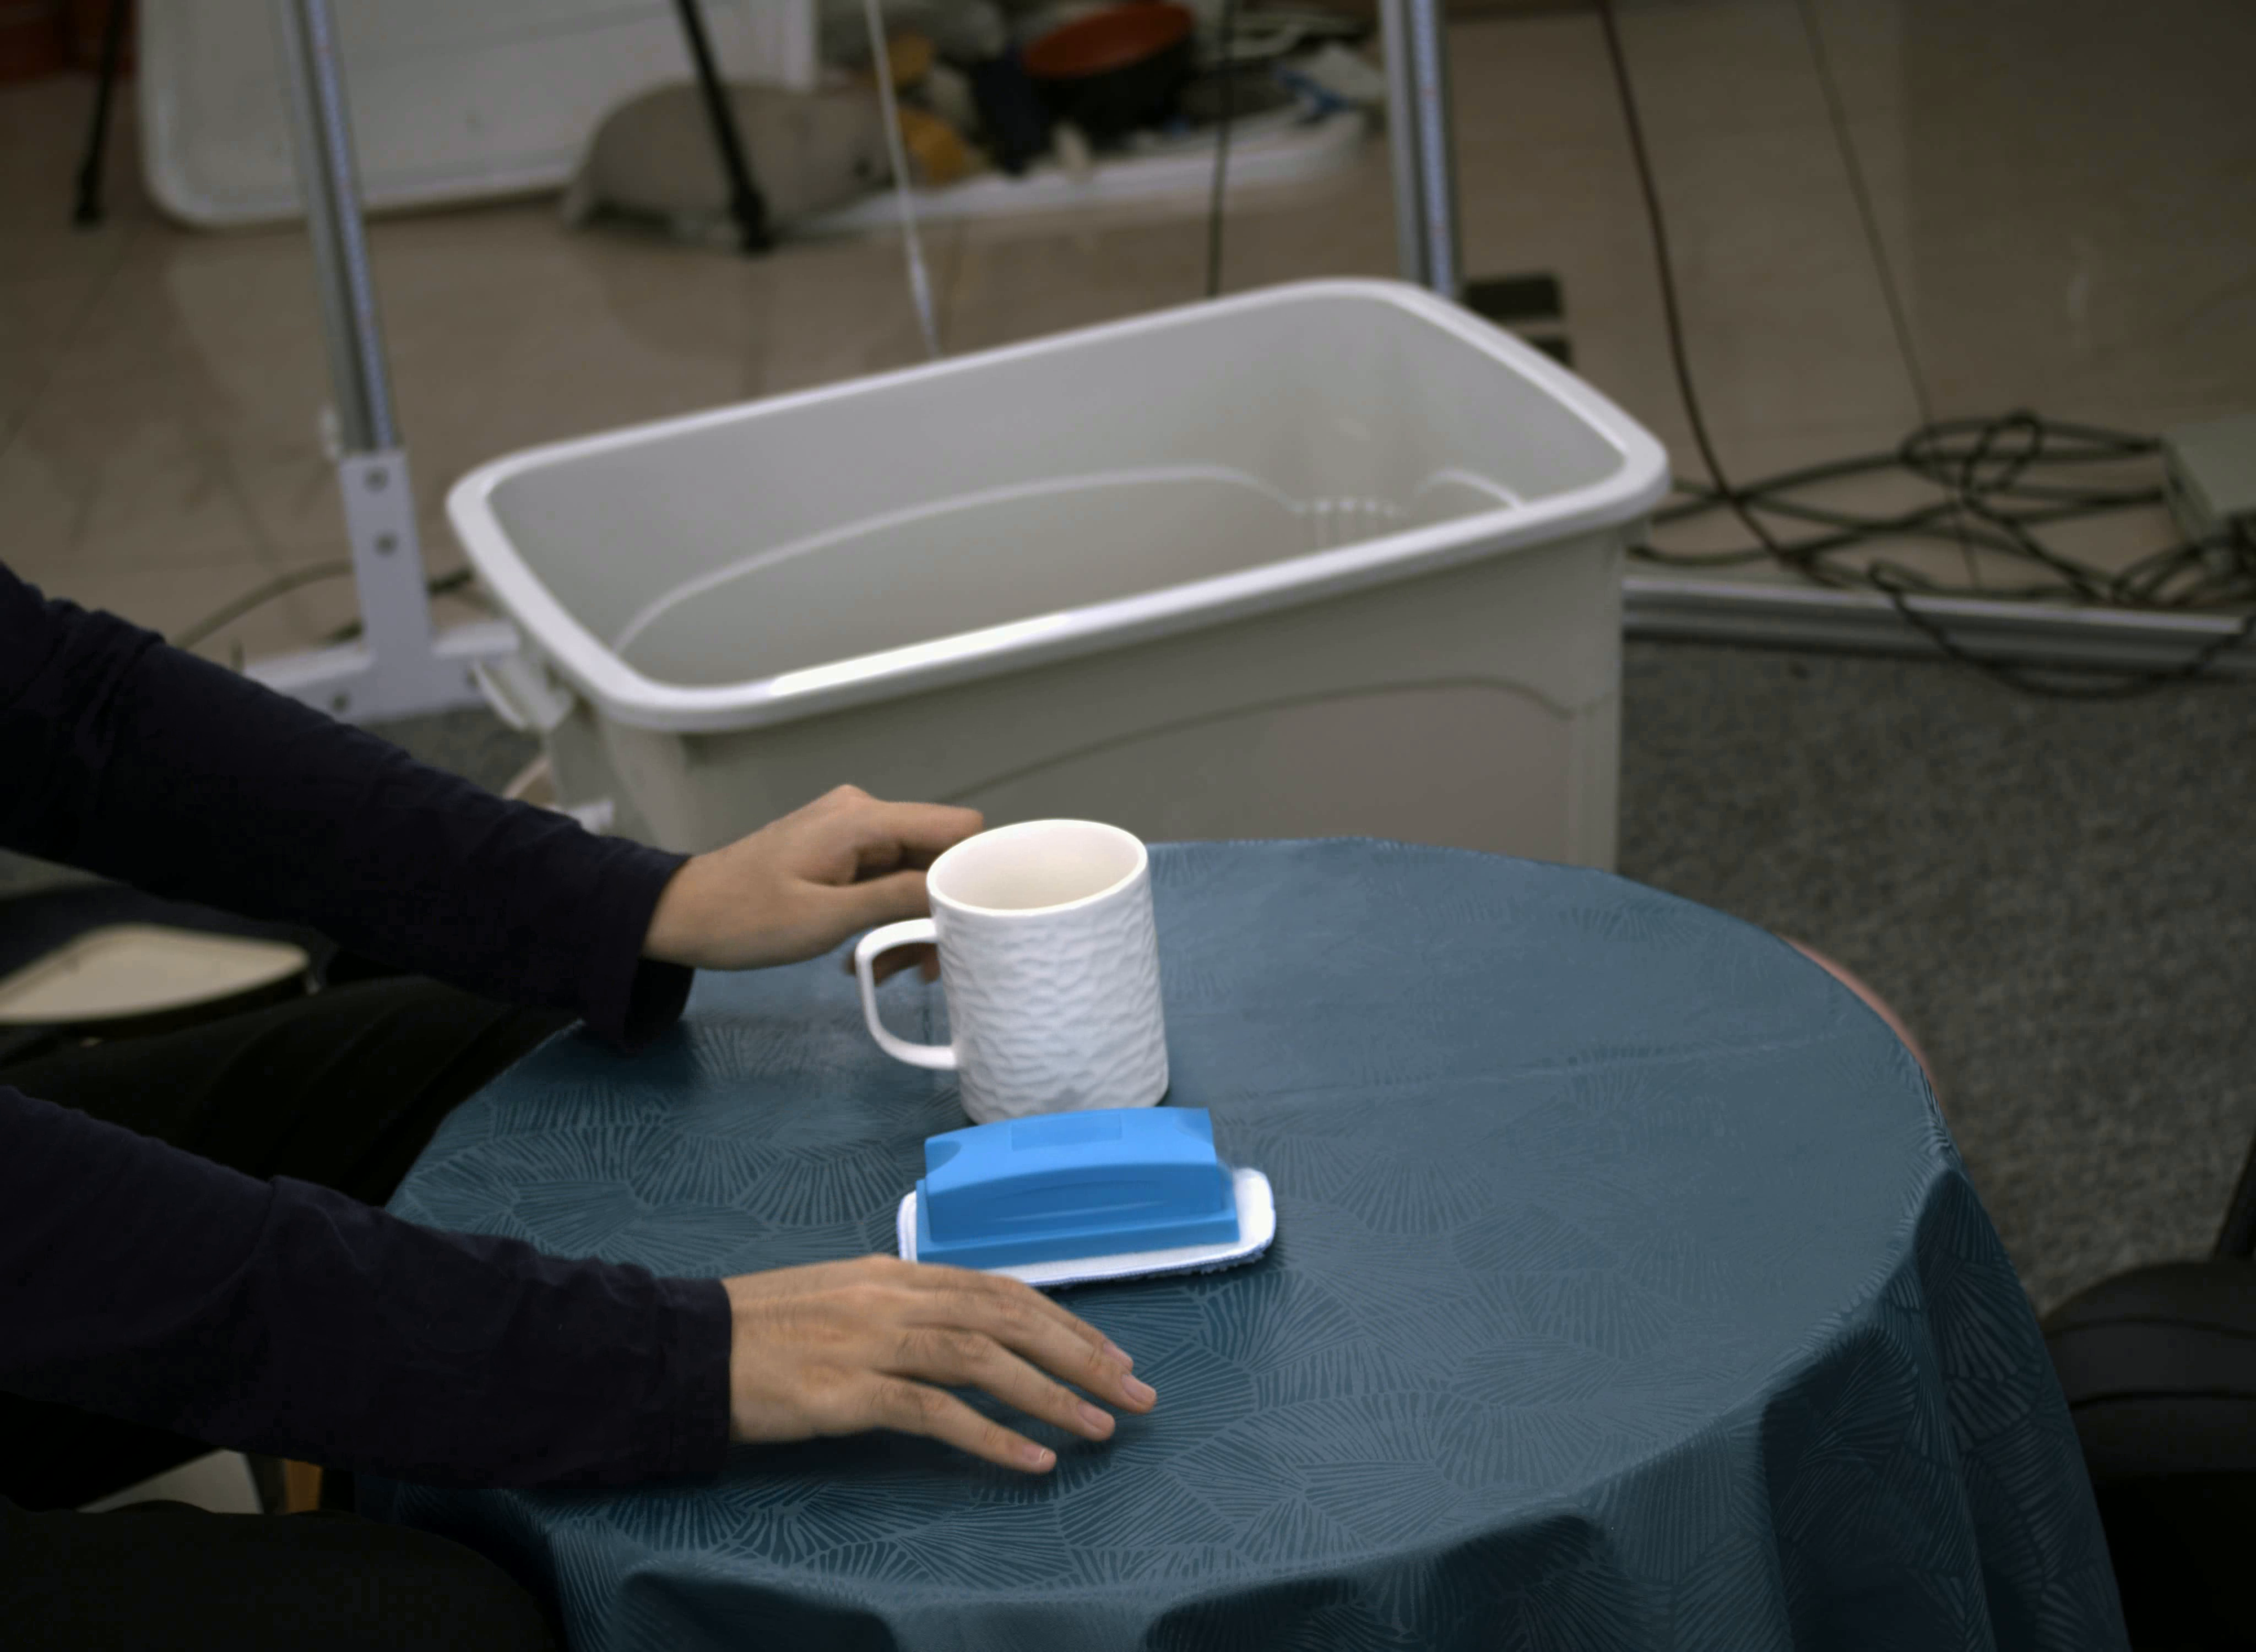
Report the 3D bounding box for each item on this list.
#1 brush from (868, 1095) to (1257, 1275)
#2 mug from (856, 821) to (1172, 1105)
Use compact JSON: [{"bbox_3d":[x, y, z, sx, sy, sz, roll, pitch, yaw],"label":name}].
[{"bbox_3d":[-0.025,0.130,2.100,0.144,0.057,0.083,-3,22,2],"label":"brush"},{"bbox_3d":[-0.045,0.065,2.198,0.118,0.103,0.084,-11,26,-8],"label":"mug"}]
